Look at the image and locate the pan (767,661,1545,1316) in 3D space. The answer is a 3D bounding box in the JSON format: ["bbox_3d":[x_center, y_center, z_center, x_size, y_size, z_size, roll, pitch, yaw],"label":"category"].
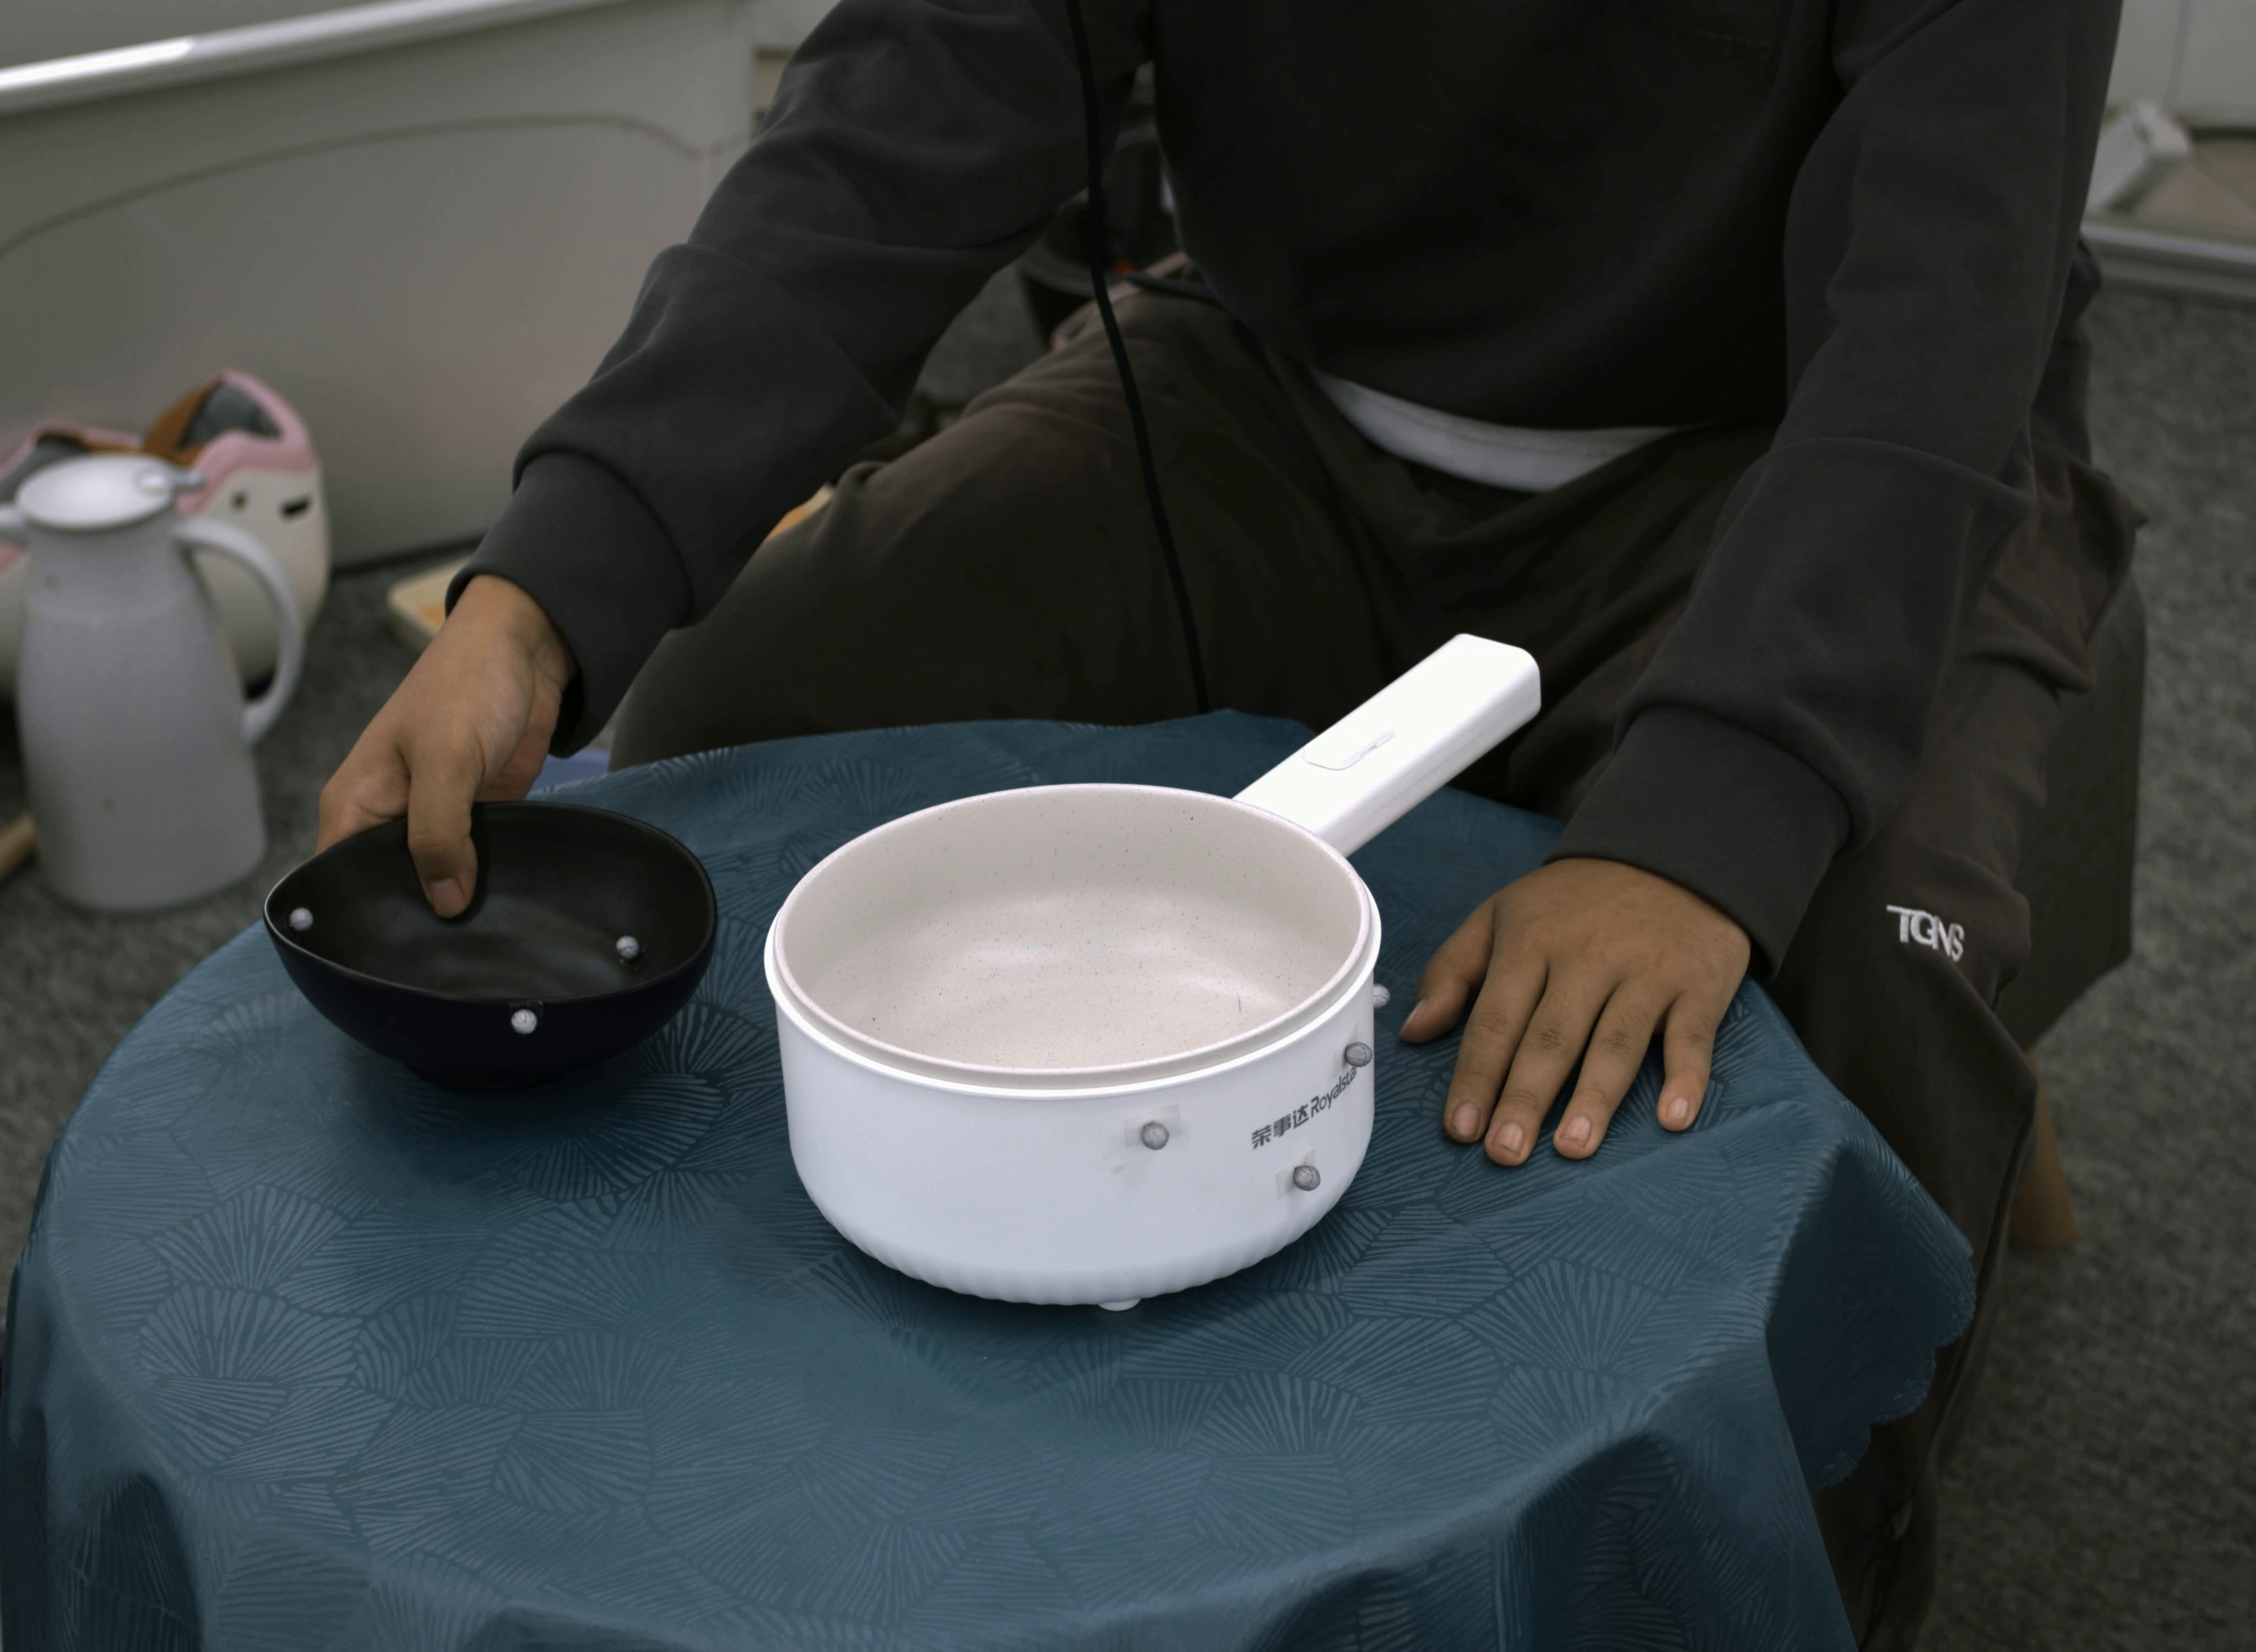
[{"bbox_3d":[0.029,0.051,1.905,0.200,0.101,0.360,14,30,33],"label":"pan"}]

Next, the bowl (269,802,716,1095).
[{"bbox_3d":[-0.220,0.051,1.948,0.169,0.066,0.139,13,31,28],"label":"bowl"}]
